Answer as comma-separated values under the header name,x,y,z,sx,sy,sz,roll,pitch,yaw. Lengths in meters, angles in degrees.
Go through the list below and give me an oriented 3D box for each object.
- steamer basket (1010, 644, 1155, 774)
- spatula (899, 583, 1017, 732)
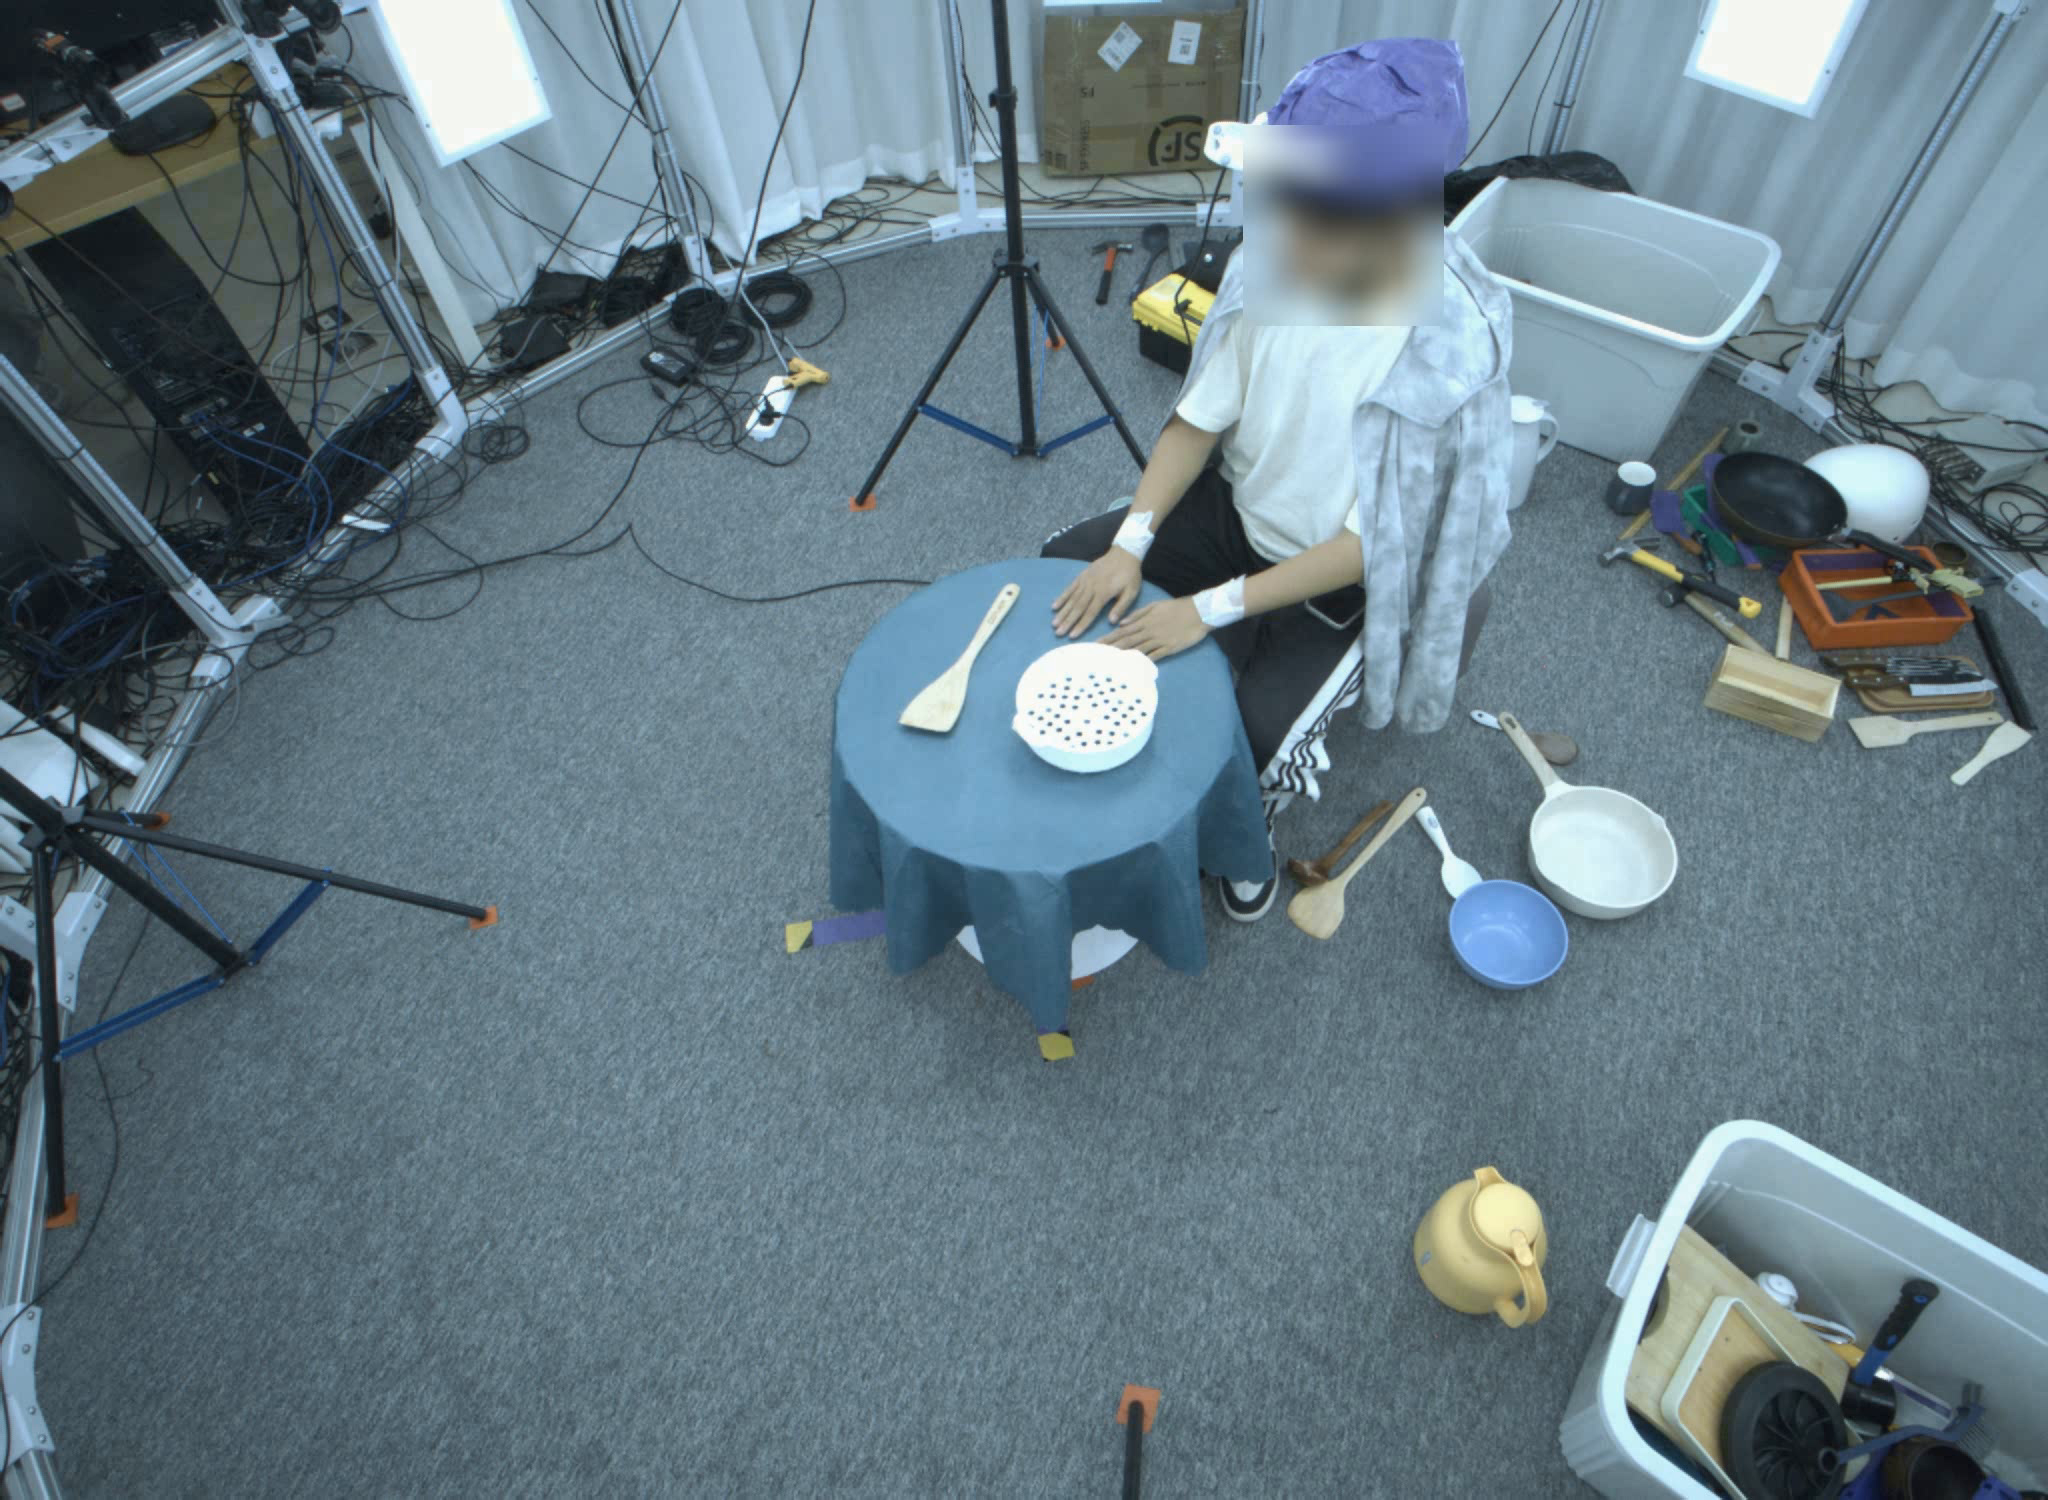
name,x,y,z,sx,sy,sz,roll,pitch,yaw
steamer basket,0.086,-0.058,1.787,0.232,0.070,0.198,-31,61,-19
spatula,-0.086,-0.147,1.885,0.079,0.017,0.328,20,58,14
